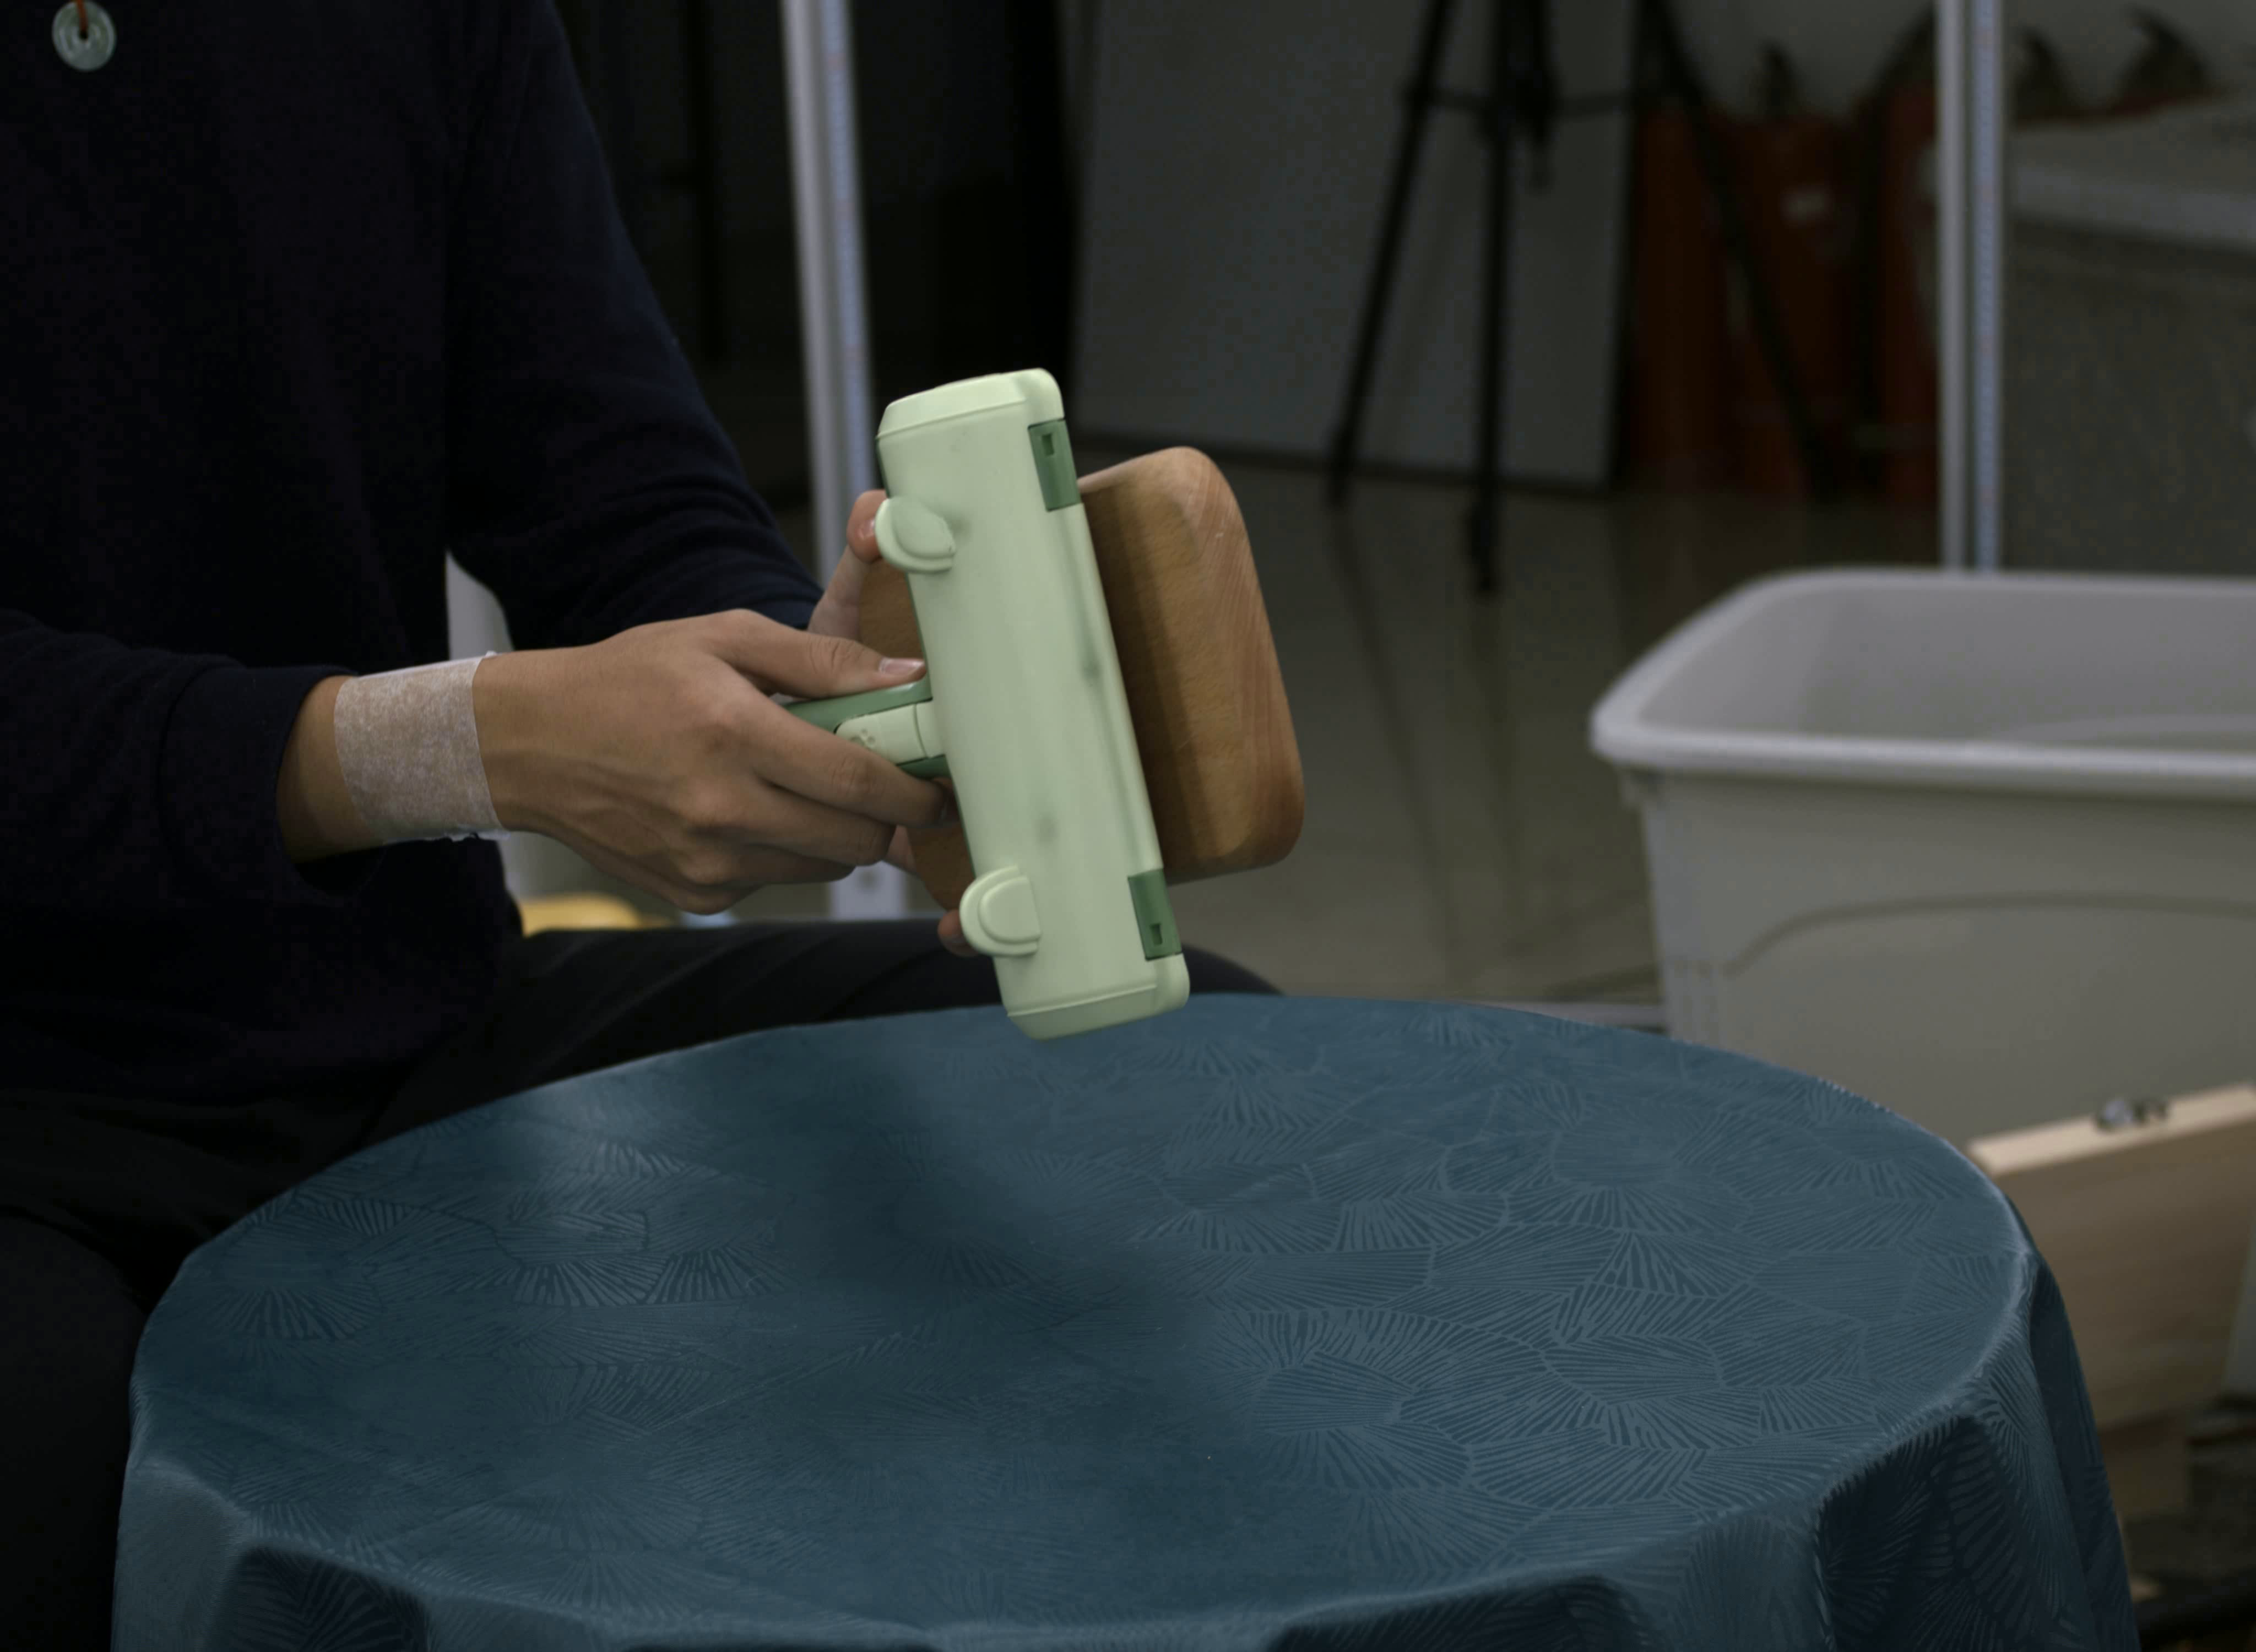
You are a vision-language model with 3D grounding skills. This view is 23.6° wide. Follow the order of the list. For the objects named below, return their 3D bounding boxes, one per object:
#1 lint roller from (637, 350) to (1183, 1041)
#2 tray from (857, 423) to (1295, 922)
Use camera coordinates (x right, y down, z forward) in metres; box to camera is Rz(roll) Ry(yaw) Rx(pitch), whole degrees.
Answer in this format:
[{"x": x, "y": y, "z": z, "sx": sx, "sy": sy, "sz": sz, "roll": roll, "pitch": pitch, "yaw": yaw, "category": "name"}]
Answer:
[{"x": -0.083, "y": -0.025, "z": 1.611, "sx": 0.183, "sy": 0.201, "sz": 0.081, "roll": -14, "pitch": -1, "yaw": 26, "category": "lint roller"}, {"x": -0.021, "y": -0.042, "z": 1.652, "sx": 0.022, "sy": 0.132, "sz": 0.253, "roll": -10, "pitch": -3, "yaw": -27, "category": "tray"}]
